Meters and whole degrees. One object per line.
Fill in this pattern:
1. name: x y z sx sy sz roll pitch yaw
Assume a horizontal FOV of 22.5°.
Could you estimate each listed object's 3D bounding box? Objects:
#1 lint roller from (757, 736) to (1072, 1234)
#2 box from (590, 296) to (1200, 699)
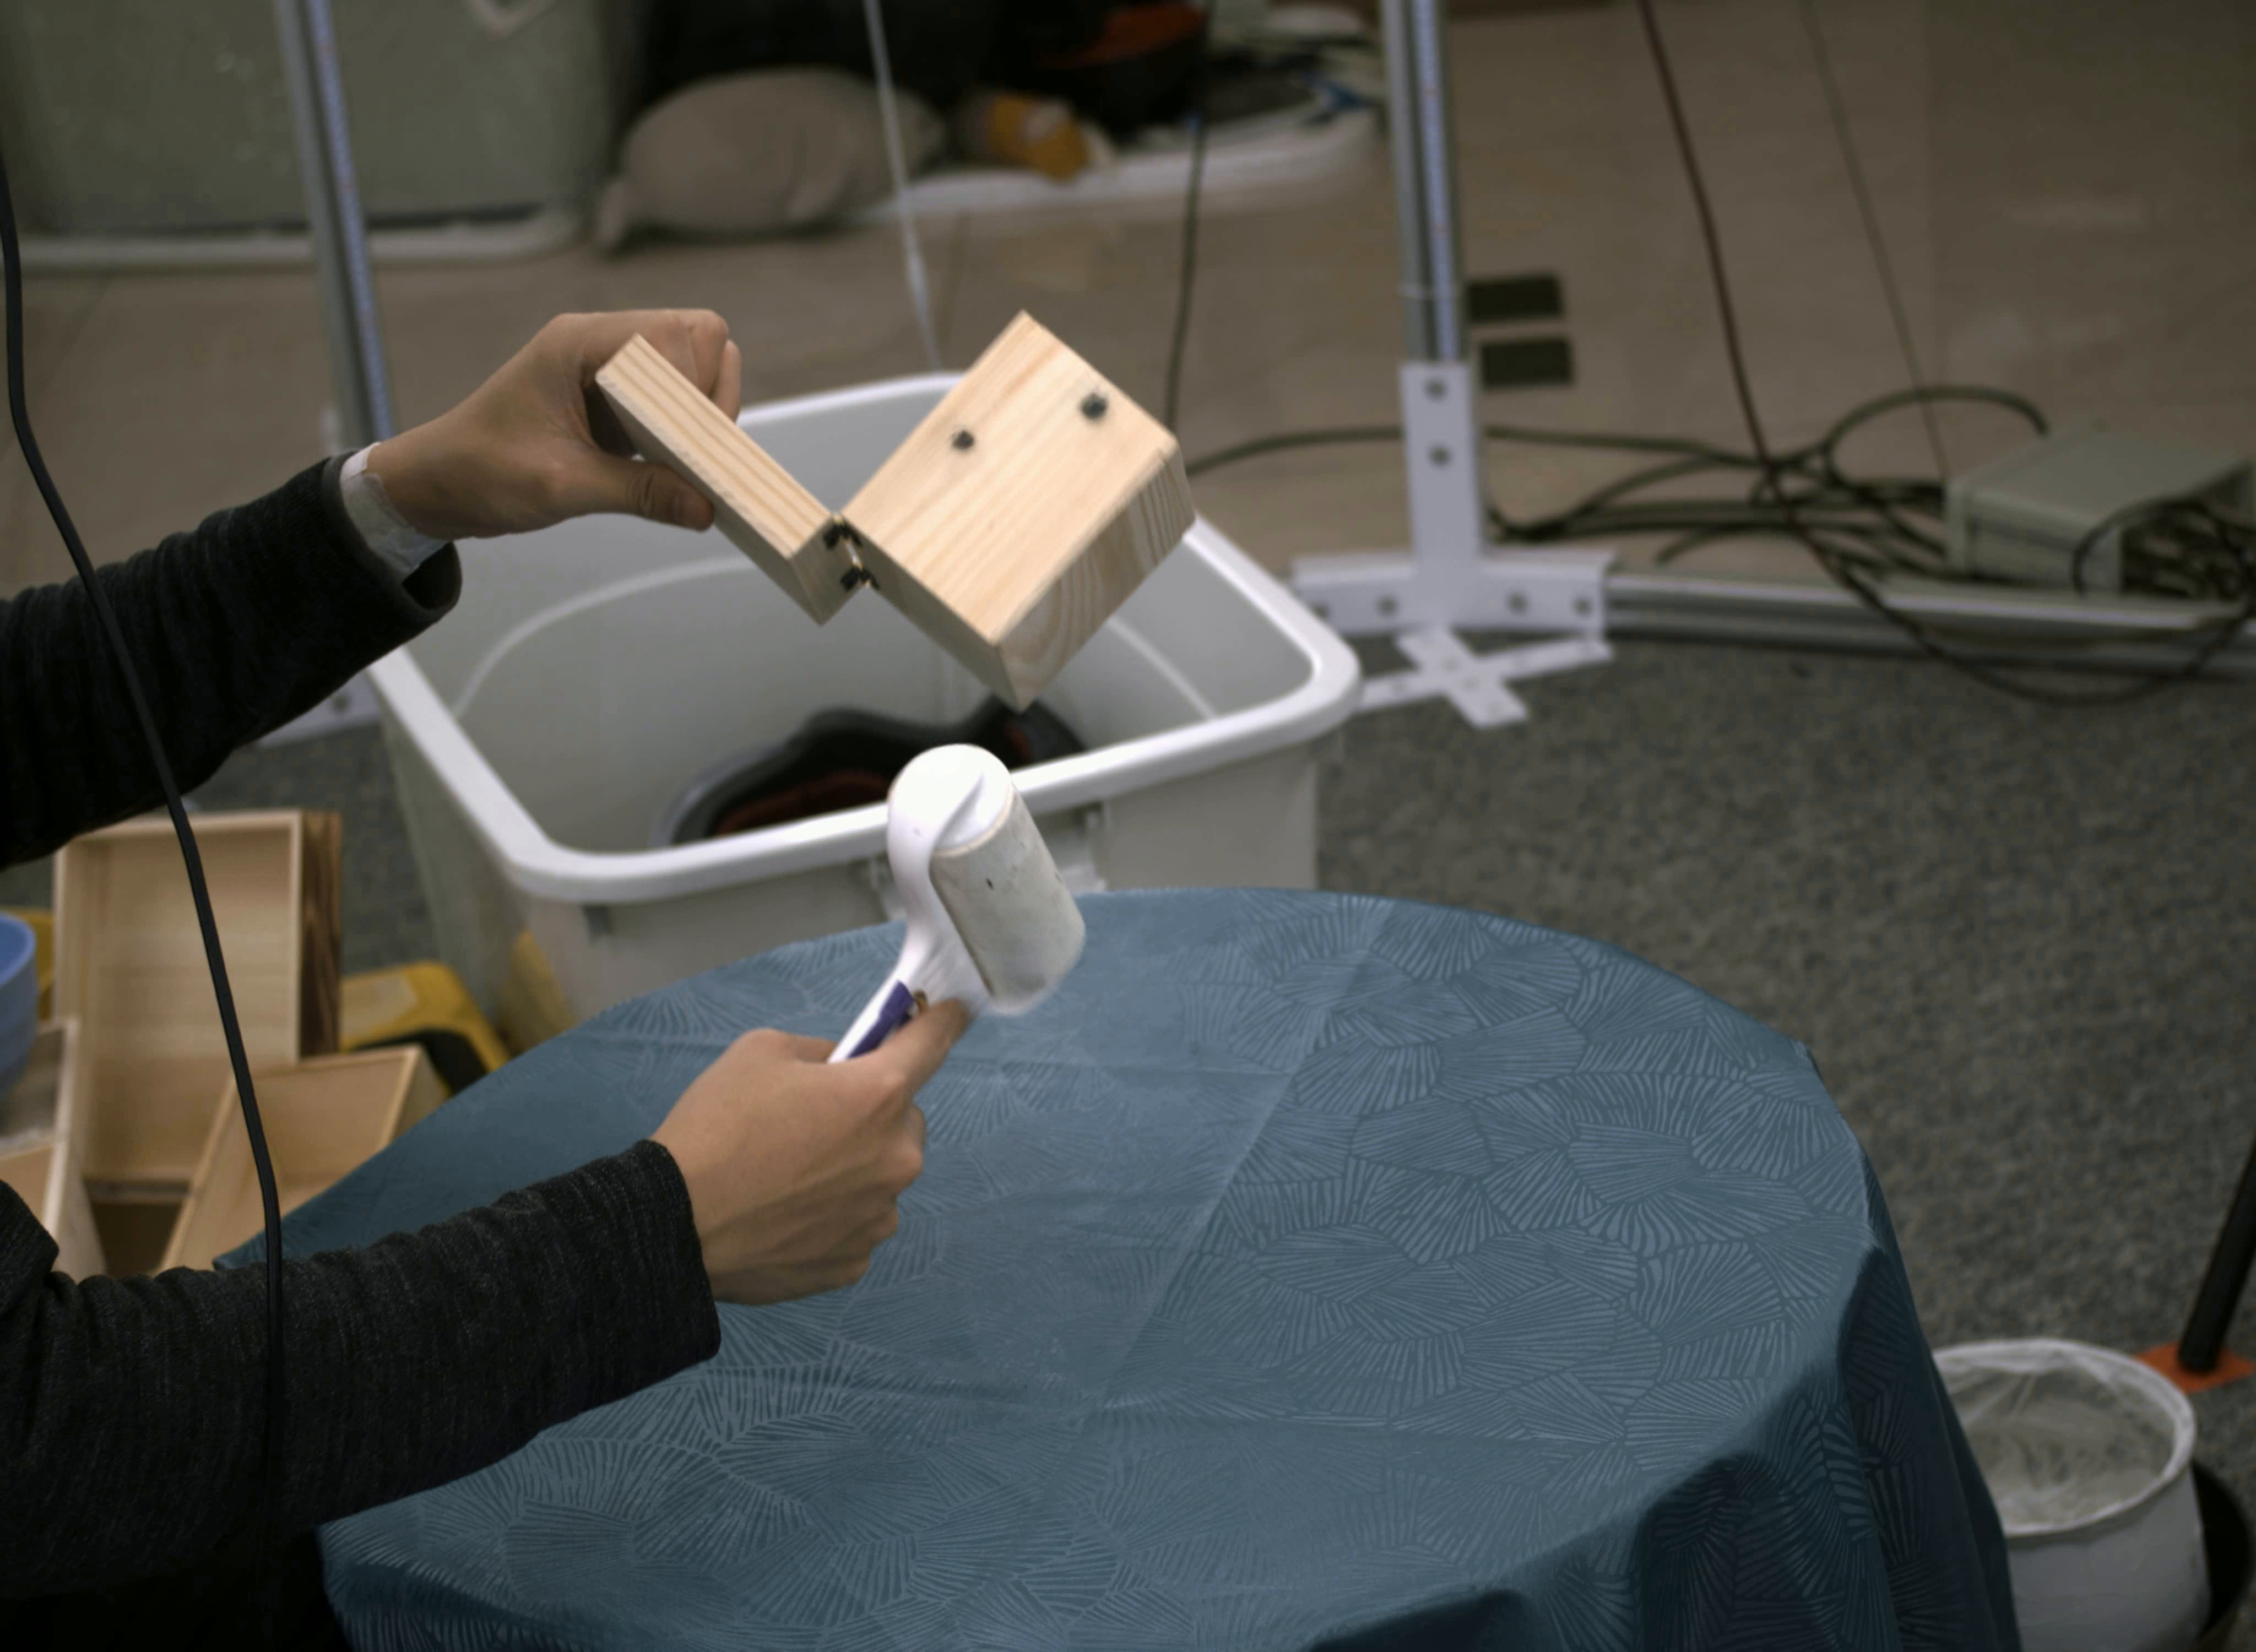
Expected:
1. lint roller: -0.078 0.067 1.998 0.050 0.135 0.178 13 63 20
2. box: -0.084 -0.146 2.091 0.183 0.103 0.133 39 83 12
